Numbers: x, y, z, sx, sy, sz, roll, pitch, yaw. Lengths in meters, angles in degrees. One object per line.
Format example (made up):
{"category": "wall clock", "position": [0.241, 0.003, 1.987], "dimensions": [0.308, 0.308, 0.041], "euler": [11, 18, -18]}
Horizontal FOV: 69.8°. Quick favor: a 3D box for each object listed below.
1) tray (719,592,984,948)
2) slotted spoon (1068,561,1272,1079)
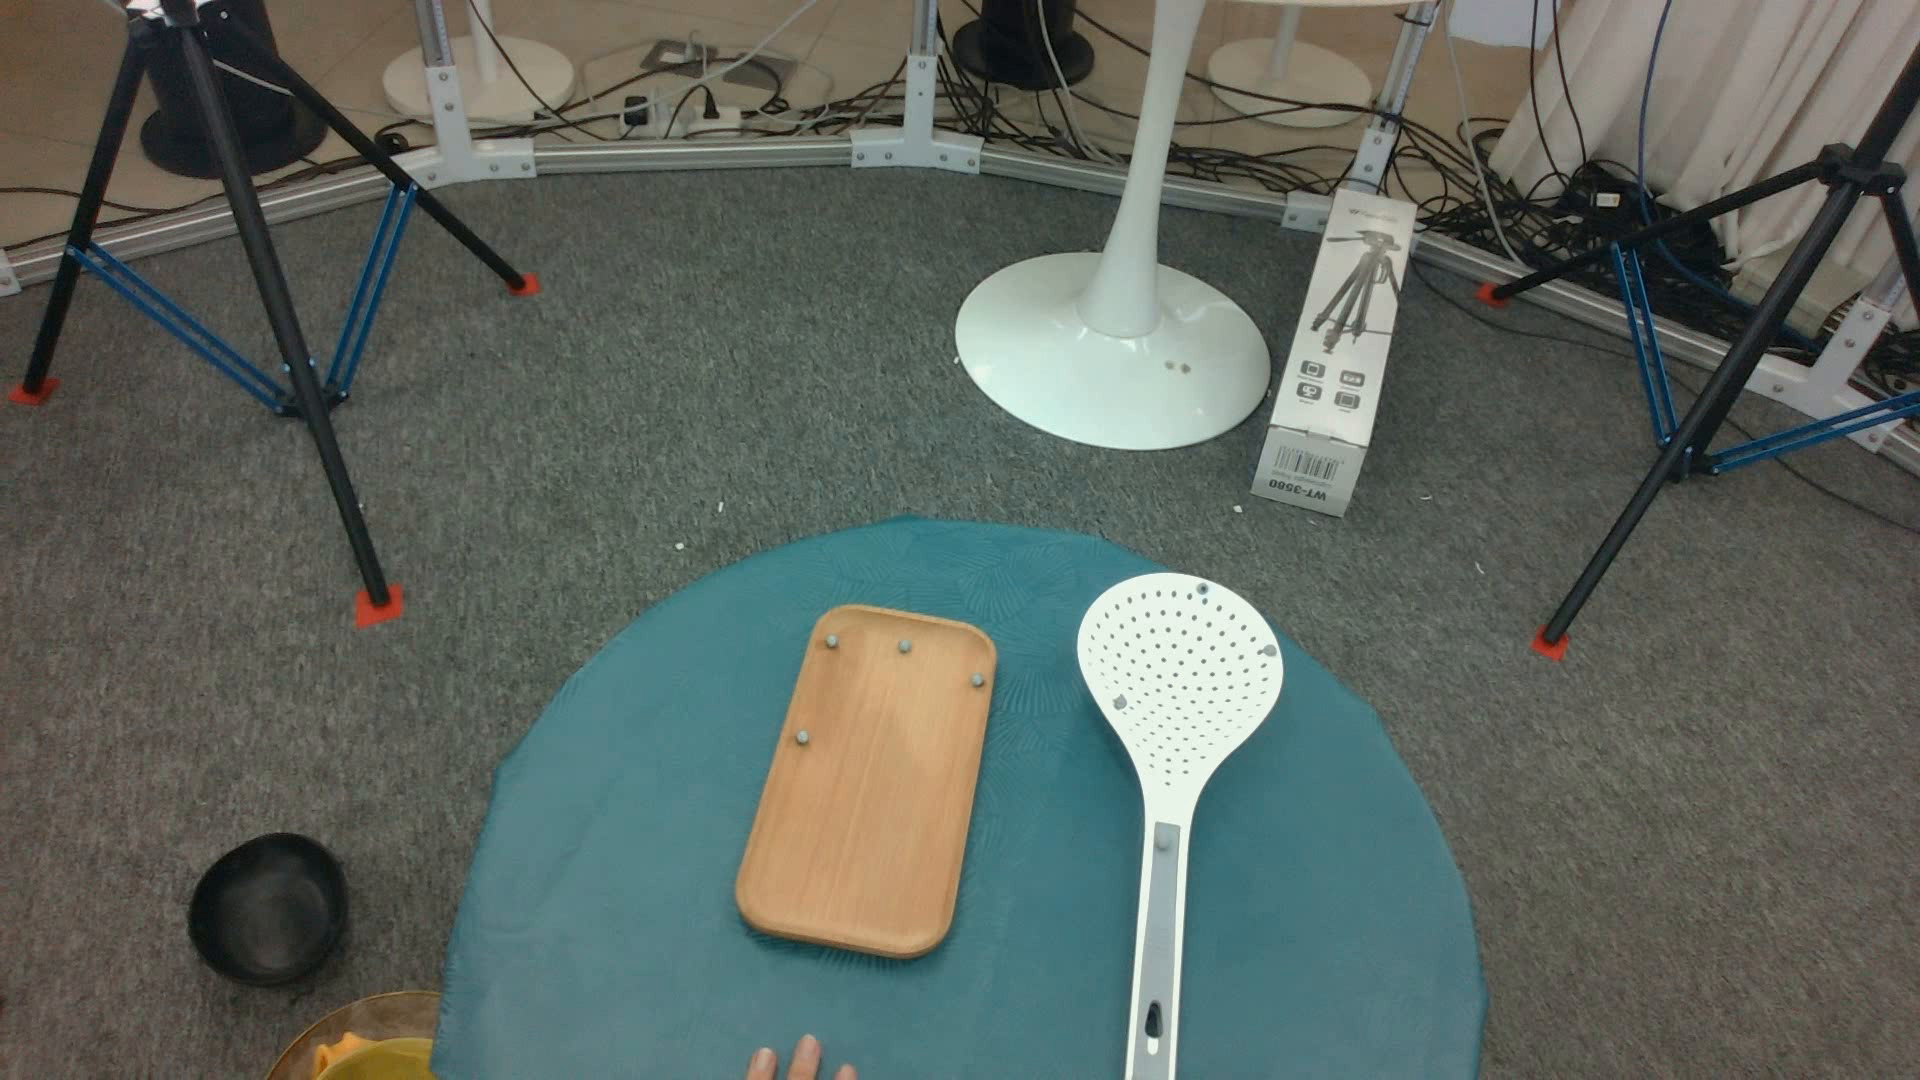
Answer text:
{"category": "tray", "position": [-0.061, 0.135, 0.863], "dimensions": [0.130, 0.023, 0.252], "euler": [9, 46, 3]}
{"category": "slotted spoon", "position": [0.121, 0.155, 0.849], "dimensions": [0.136, 0.045, 0.351], "euler": [9, 46, 4]}
